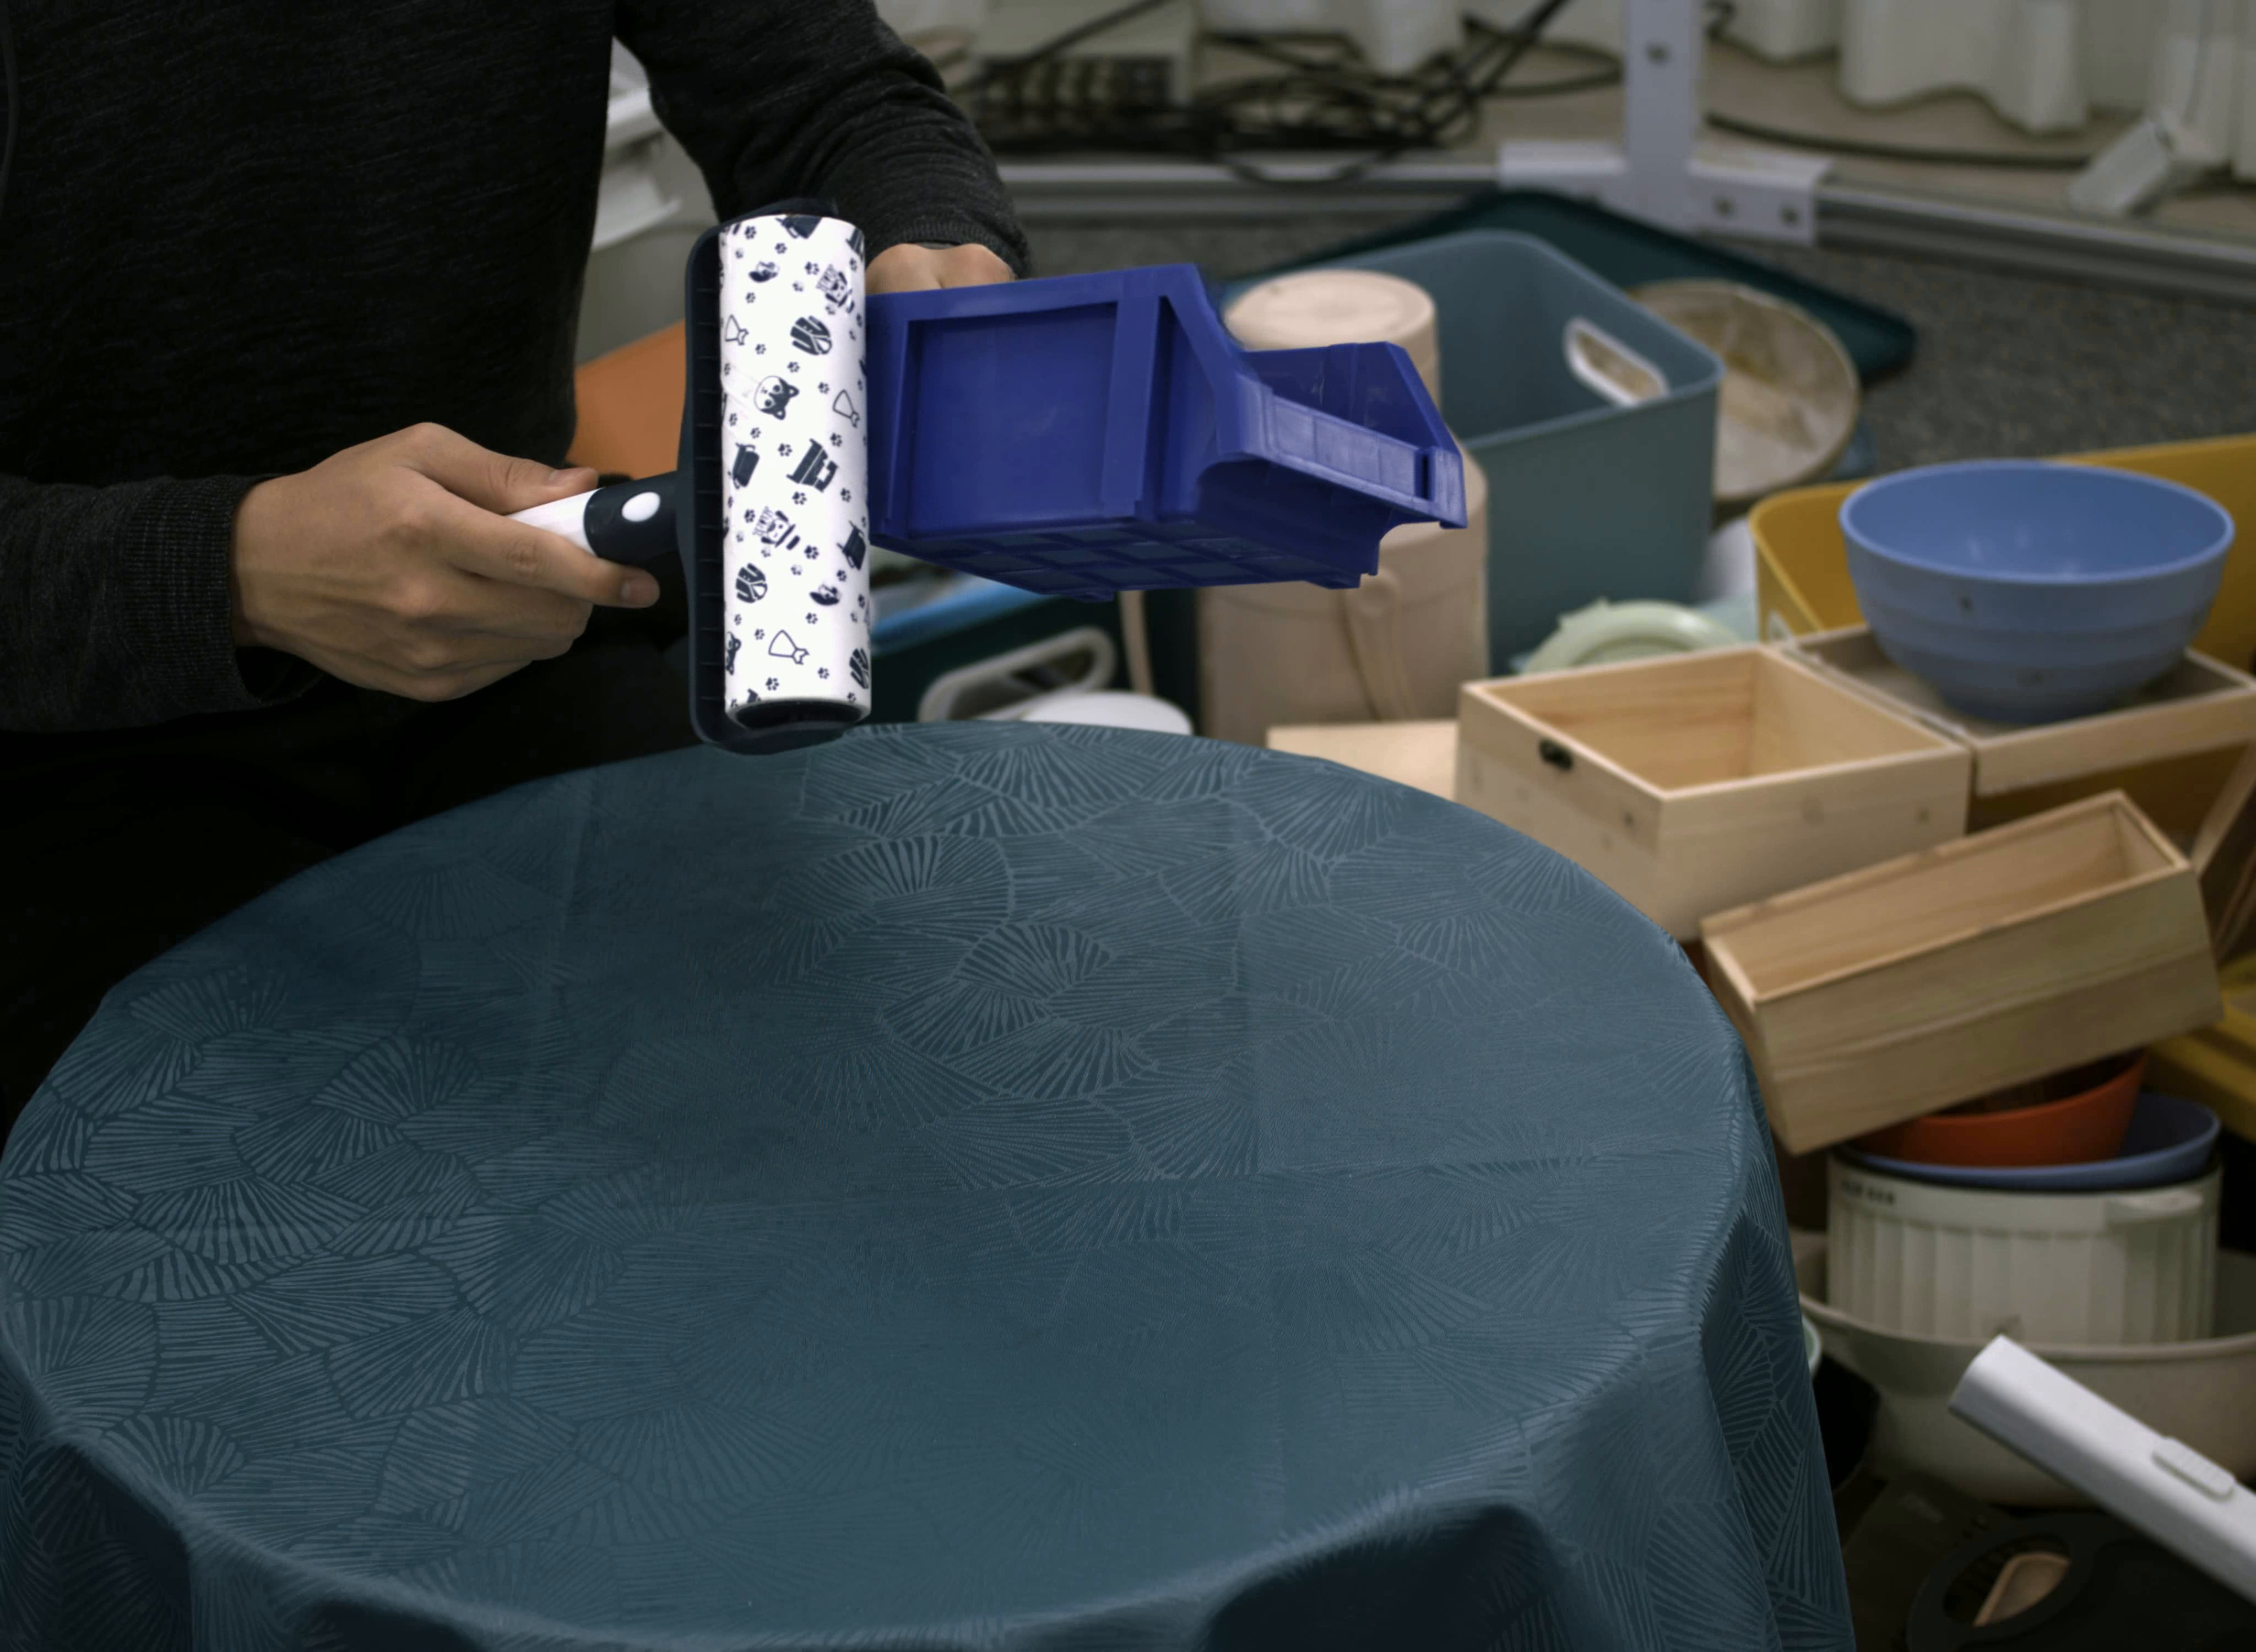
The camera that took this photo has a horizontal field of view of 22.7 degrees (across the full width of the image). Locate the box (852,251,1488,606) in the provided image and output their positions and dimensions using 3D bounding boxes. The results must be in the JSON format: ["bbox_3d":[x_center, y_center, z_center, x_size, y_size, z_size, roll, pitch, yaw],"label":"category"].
[{"bbox_3d":[0.012,-0.127,1.827,0.177,0.083,0.124,-5,-13,39],"label":"box"}]

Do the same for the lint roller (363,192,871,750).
[{"bbox_3d":[-0.179,-0.098,1.874,0.244,0.178,0.050,-14,-17,41],"label":"lint roller"}]
